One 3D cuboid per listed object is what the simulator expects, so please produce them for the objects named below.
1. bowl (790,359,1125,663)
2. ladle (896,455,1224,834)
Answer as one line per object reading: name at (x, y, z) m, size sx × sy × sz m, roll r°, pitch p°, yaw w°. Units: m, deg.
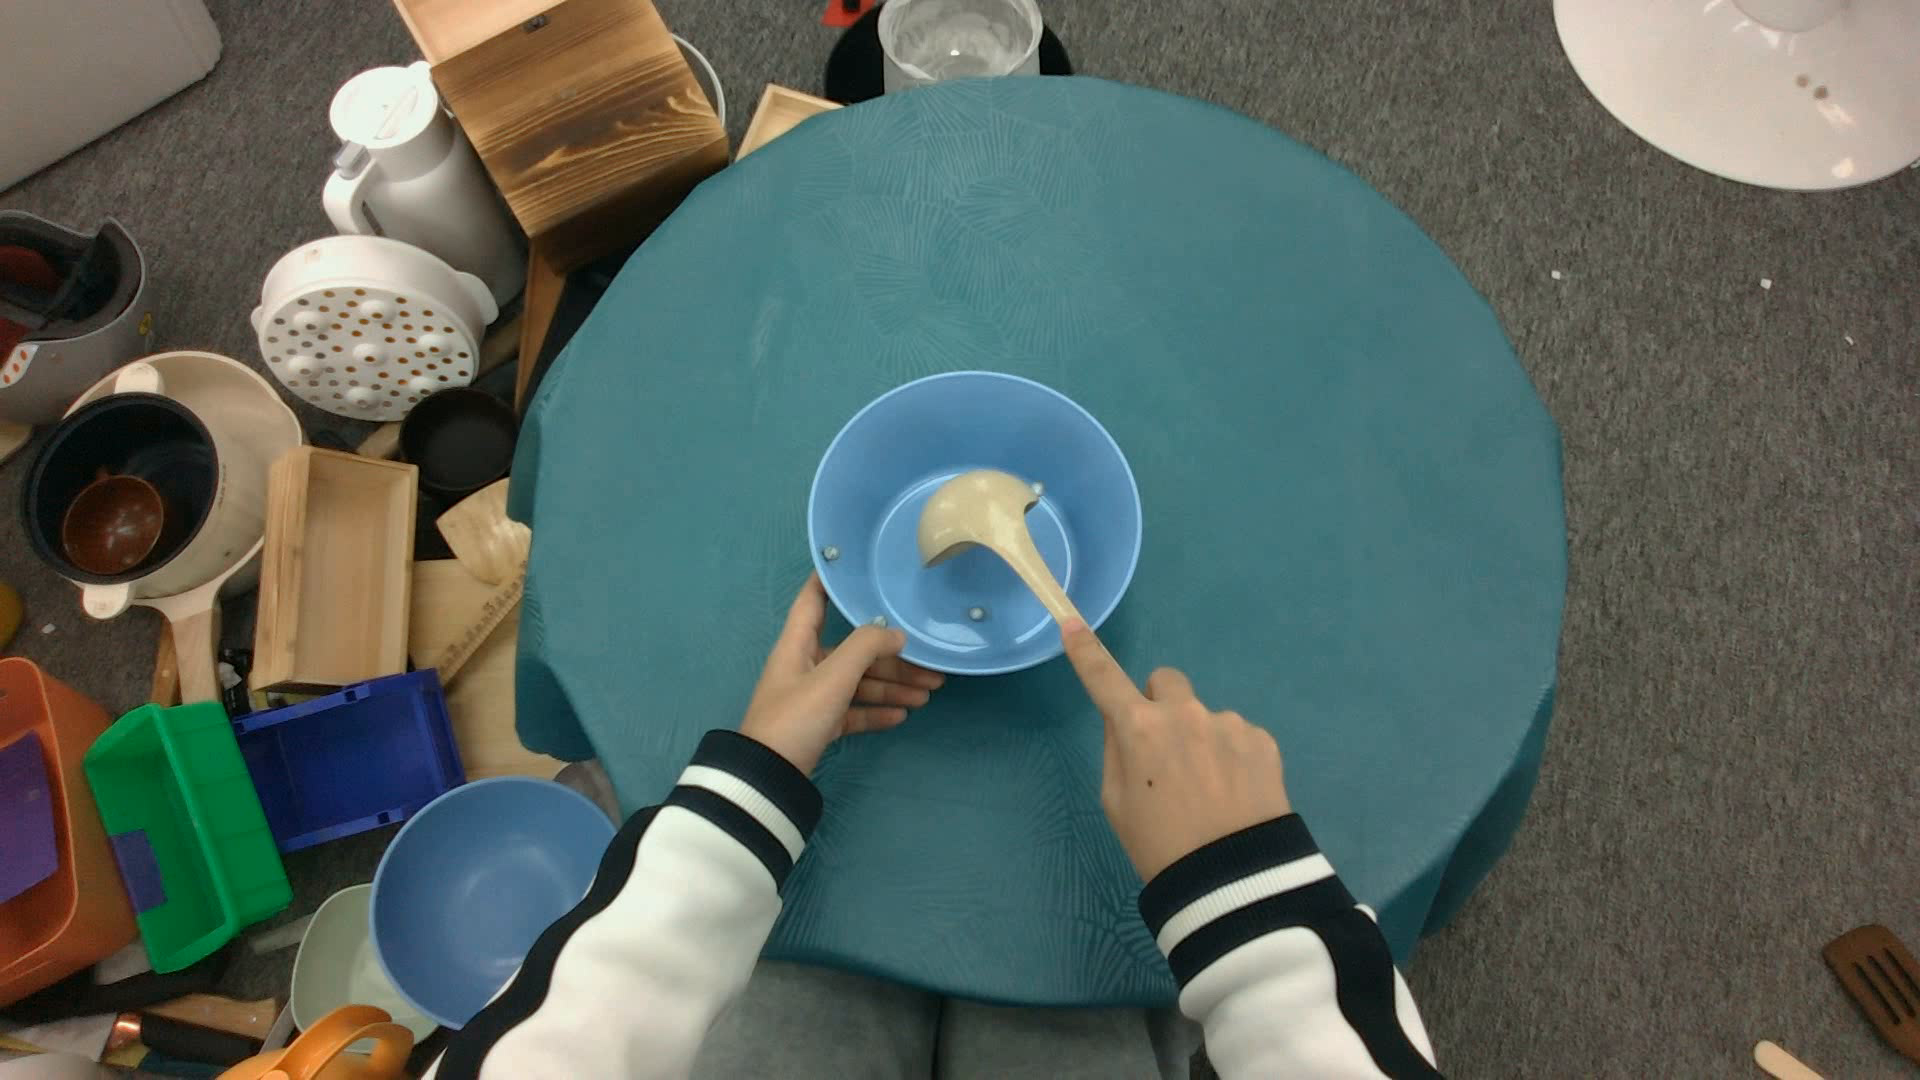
bowl at (-0.001, -0.007, 0.749) m, size 0.176 × 0.070 × 0.176 m, roll 0°, pitch 65°, yaw -1°
ladle at (0.050, 0.057, 0.690) m, size 0.072 × 0.072 × 0.255 m, roll -27°, pitch 58°, yaw -15°
